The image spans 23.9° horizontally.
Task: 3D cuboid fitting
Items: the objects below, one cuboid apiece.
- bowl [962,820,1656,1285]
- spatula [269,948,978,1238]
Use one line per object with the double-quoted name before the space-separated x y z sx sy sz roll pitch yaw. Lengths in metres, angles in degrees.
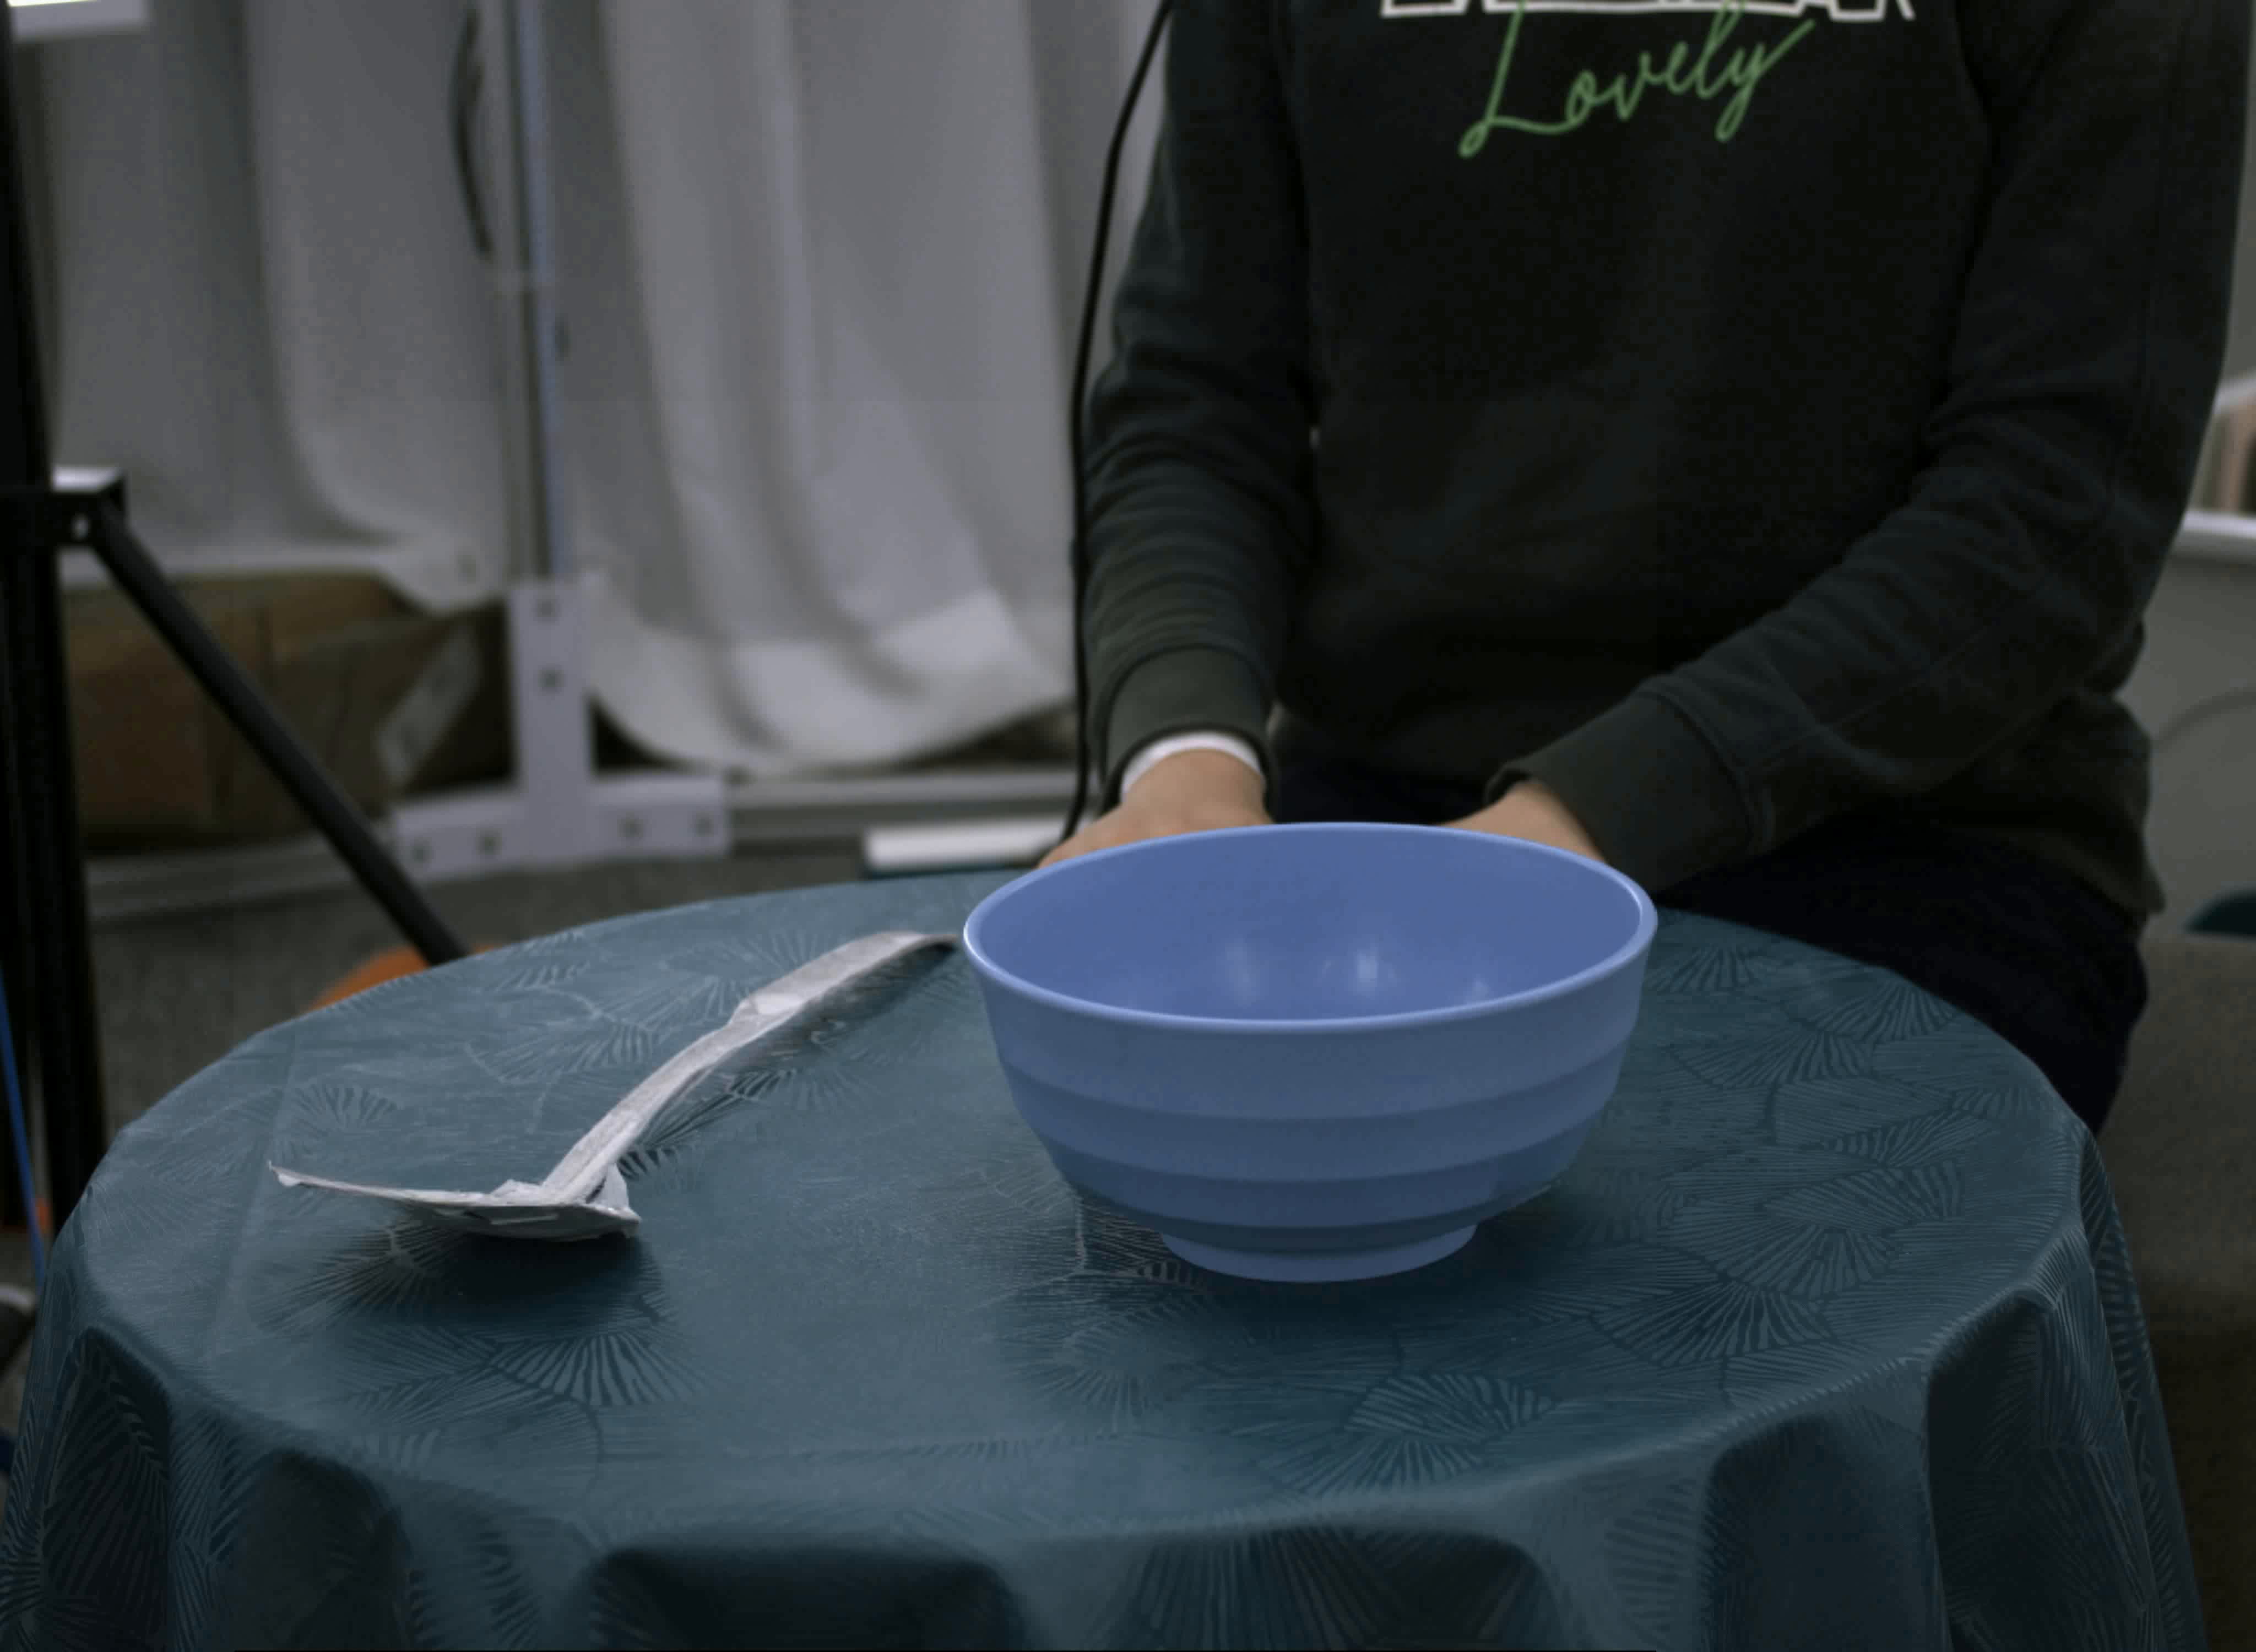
"bowl" 0.053 0.070 1.508 0.195 0.095 0.197 -4 16 0
"spatula" -0.133 0.072 1.636 0.100 0.045 0.360 3 17 24
